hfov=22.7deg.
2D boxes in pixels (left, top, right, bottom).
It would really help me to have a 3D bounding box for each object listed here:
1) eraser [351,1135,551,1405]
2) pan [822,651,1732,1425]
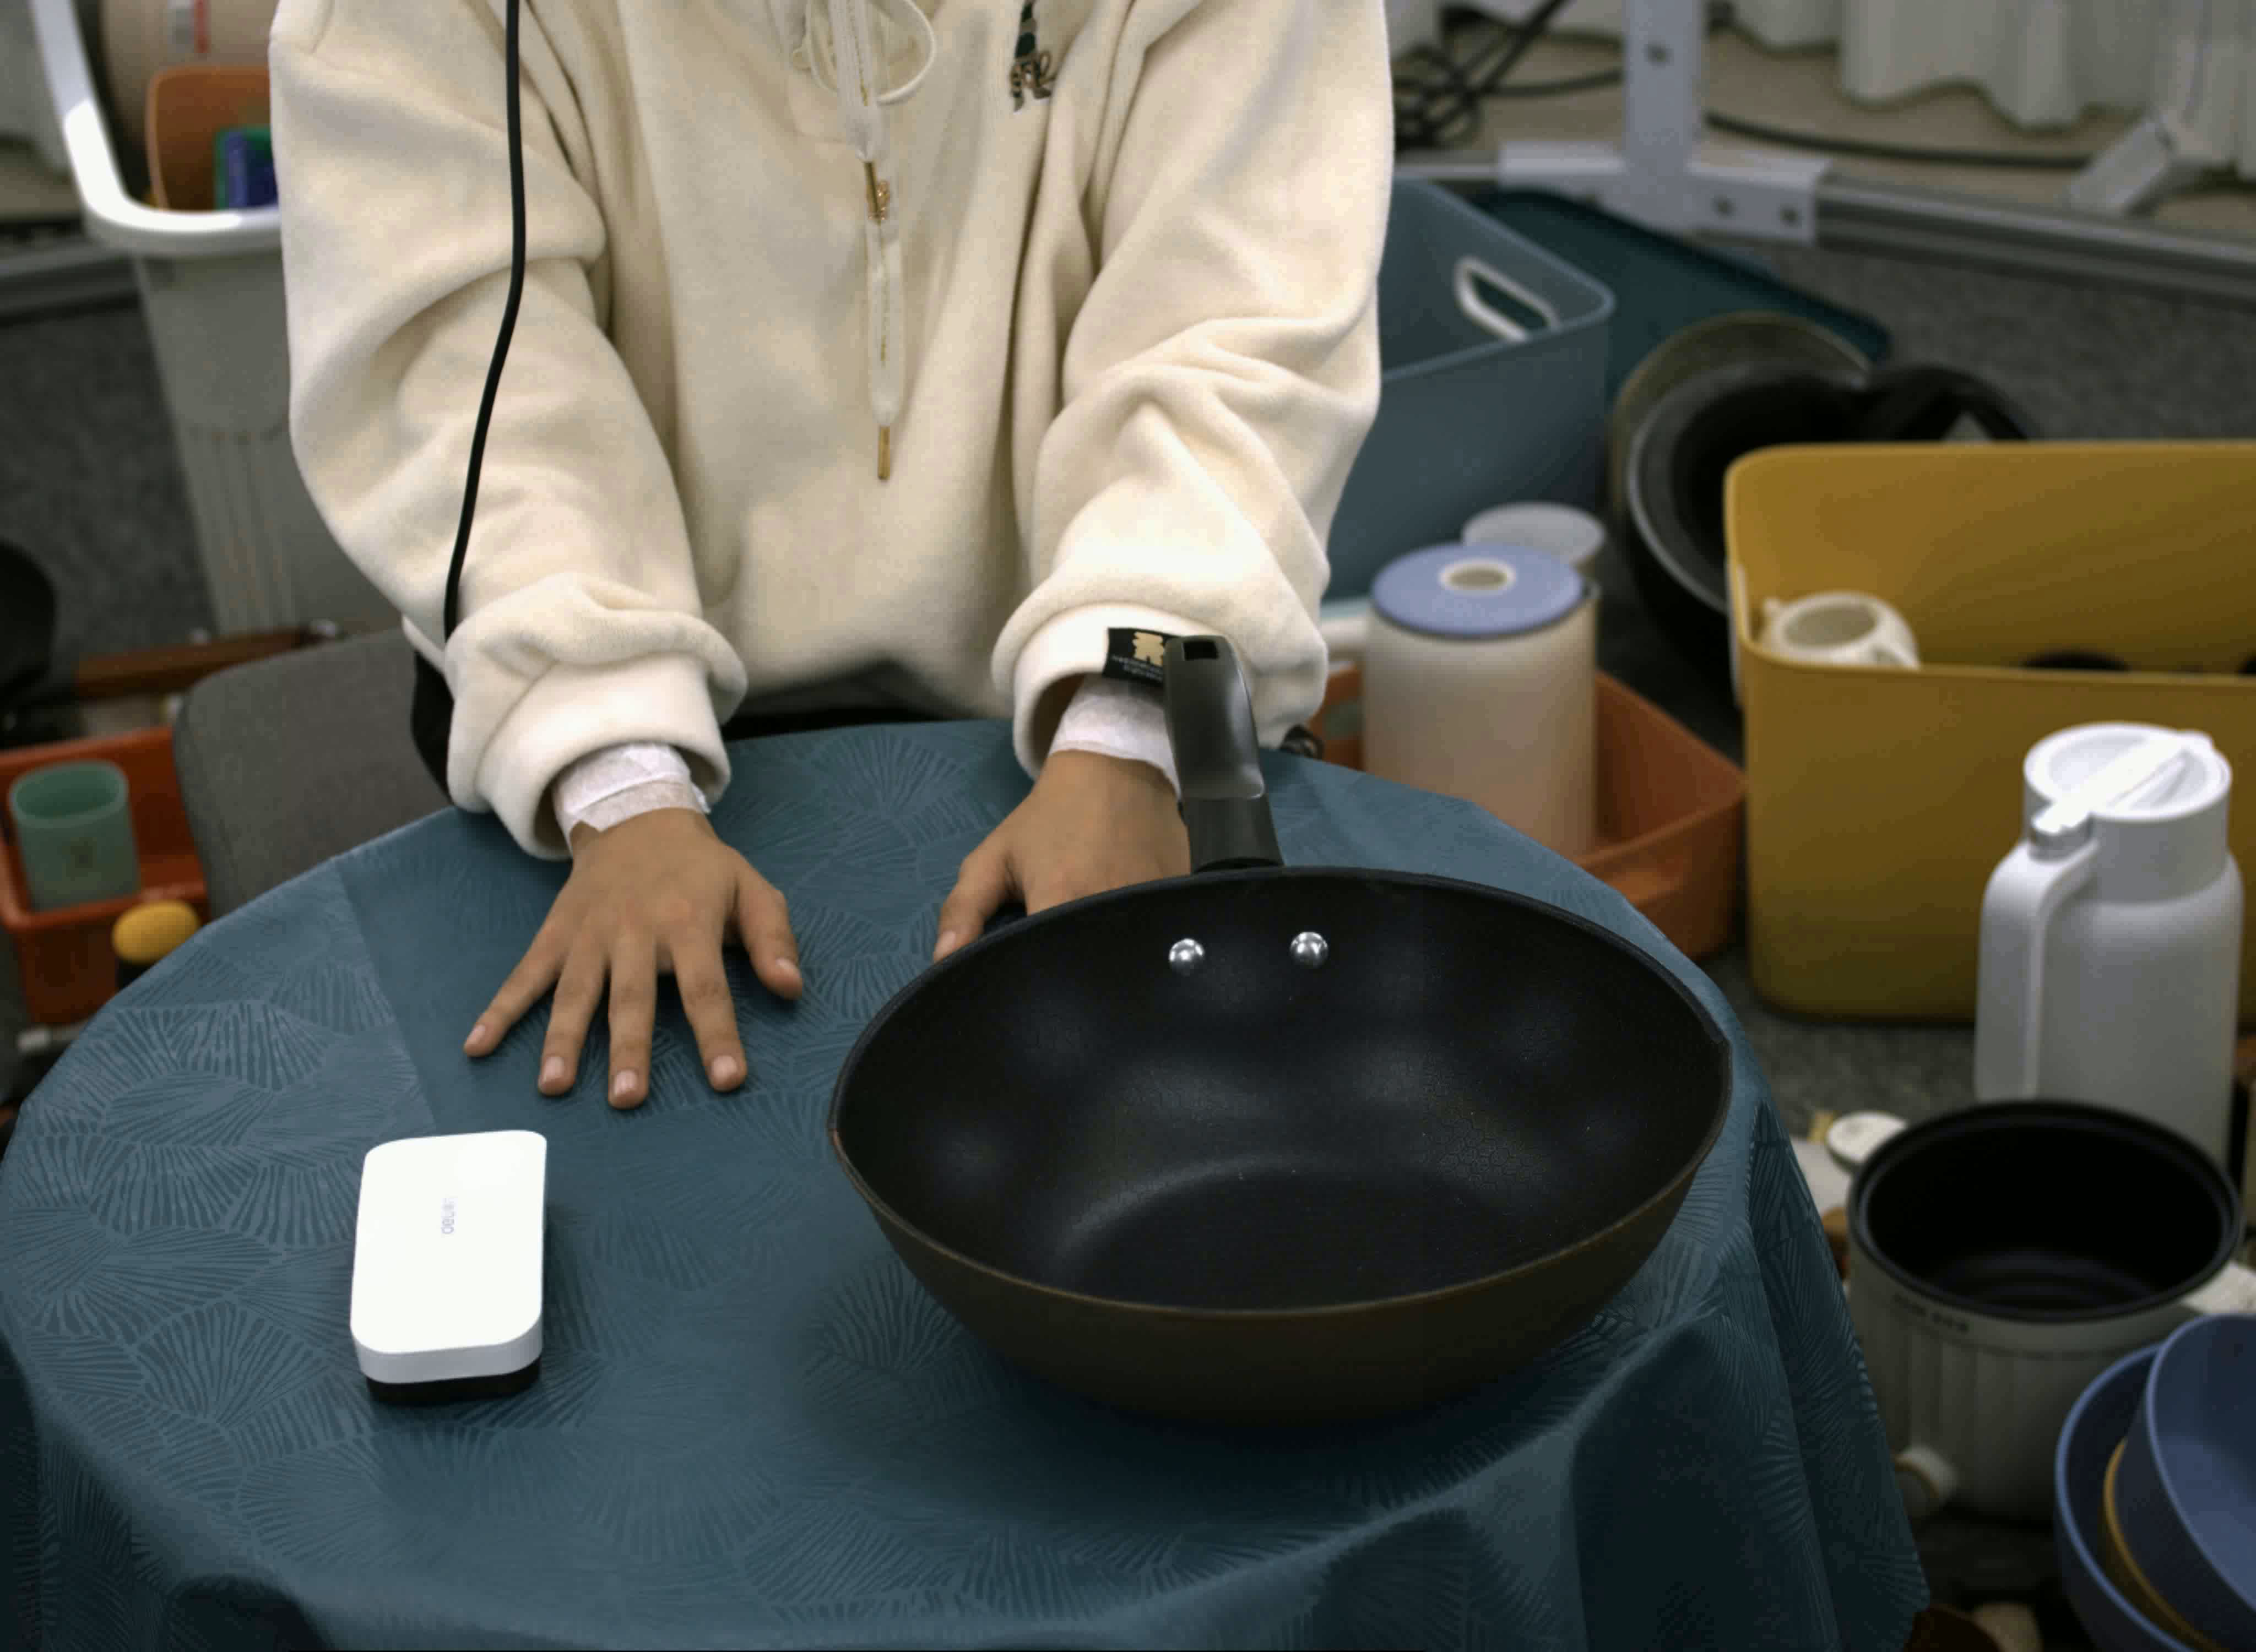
[{"bbox_3d":[-0.218,0.140,1.815,0.063,0.034,0.133,-2,28,-4],"label":"eraser"},{"bbox_3d":[0.043,0.072,1.866,0.287,0.086,0.470,-3,26,-2],"label":"pan"}]
